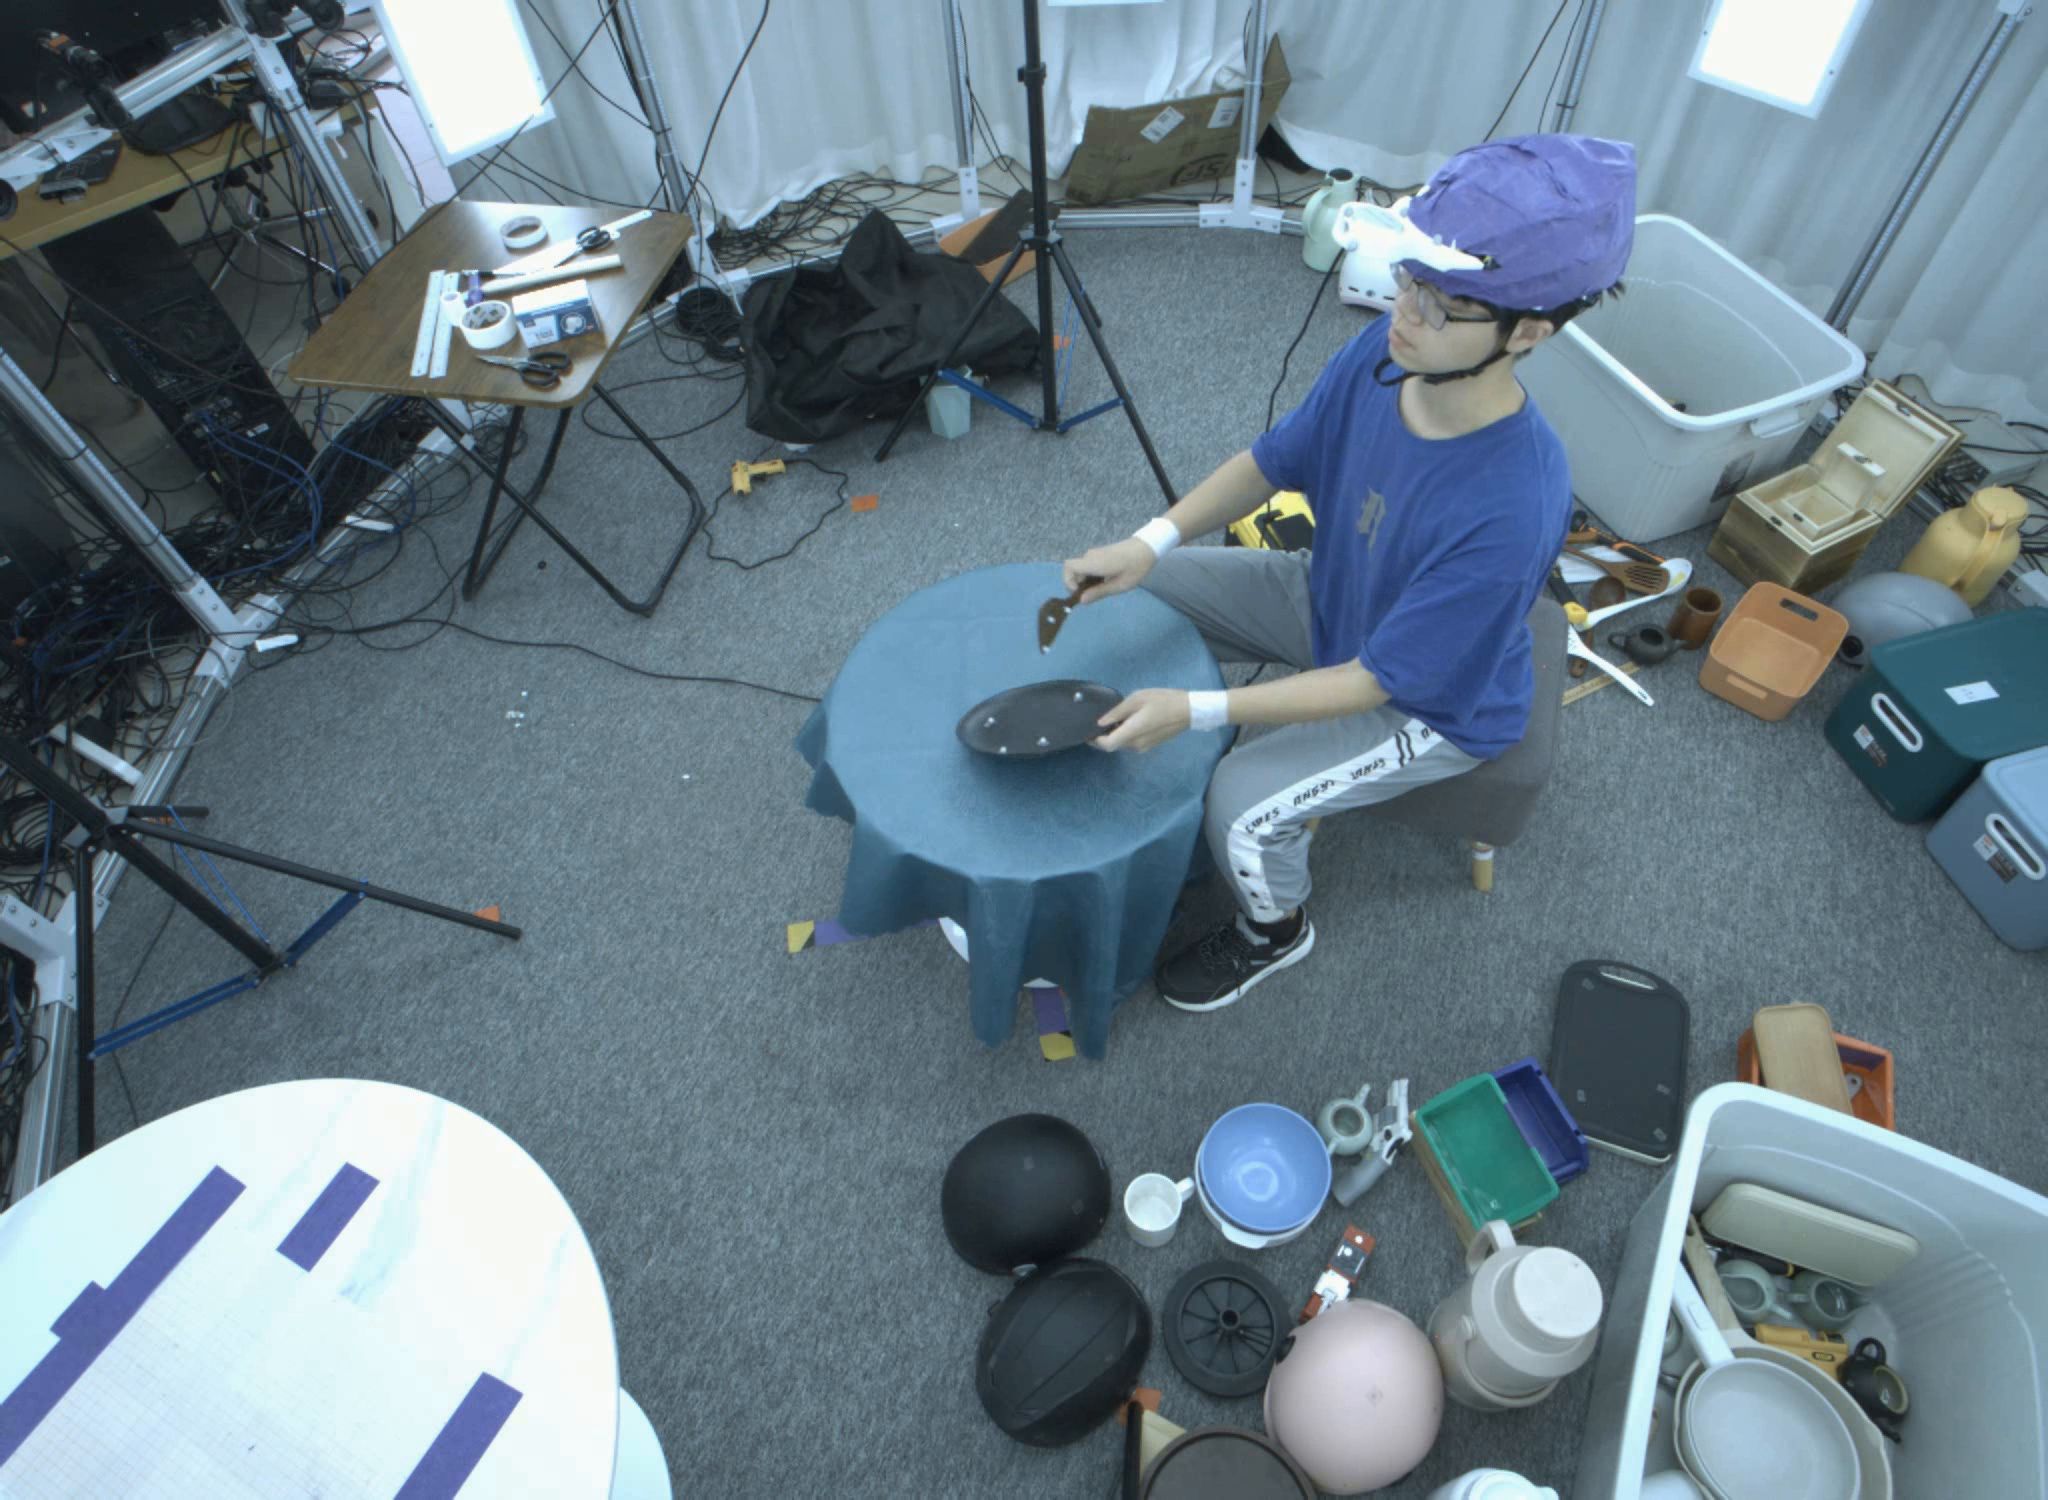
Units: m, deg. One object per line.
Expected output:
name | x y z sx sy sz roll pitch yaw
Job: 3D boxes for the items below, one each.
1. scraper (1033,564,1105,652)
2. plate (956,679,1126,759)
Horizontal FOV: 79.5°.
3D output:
scraper | 0.065 -0.216 1.761 0.010 0.076 0.213 16 38 27
plate | 0.024 -0.040 1.741 0.243 0.024 0.242 -8 26 5
